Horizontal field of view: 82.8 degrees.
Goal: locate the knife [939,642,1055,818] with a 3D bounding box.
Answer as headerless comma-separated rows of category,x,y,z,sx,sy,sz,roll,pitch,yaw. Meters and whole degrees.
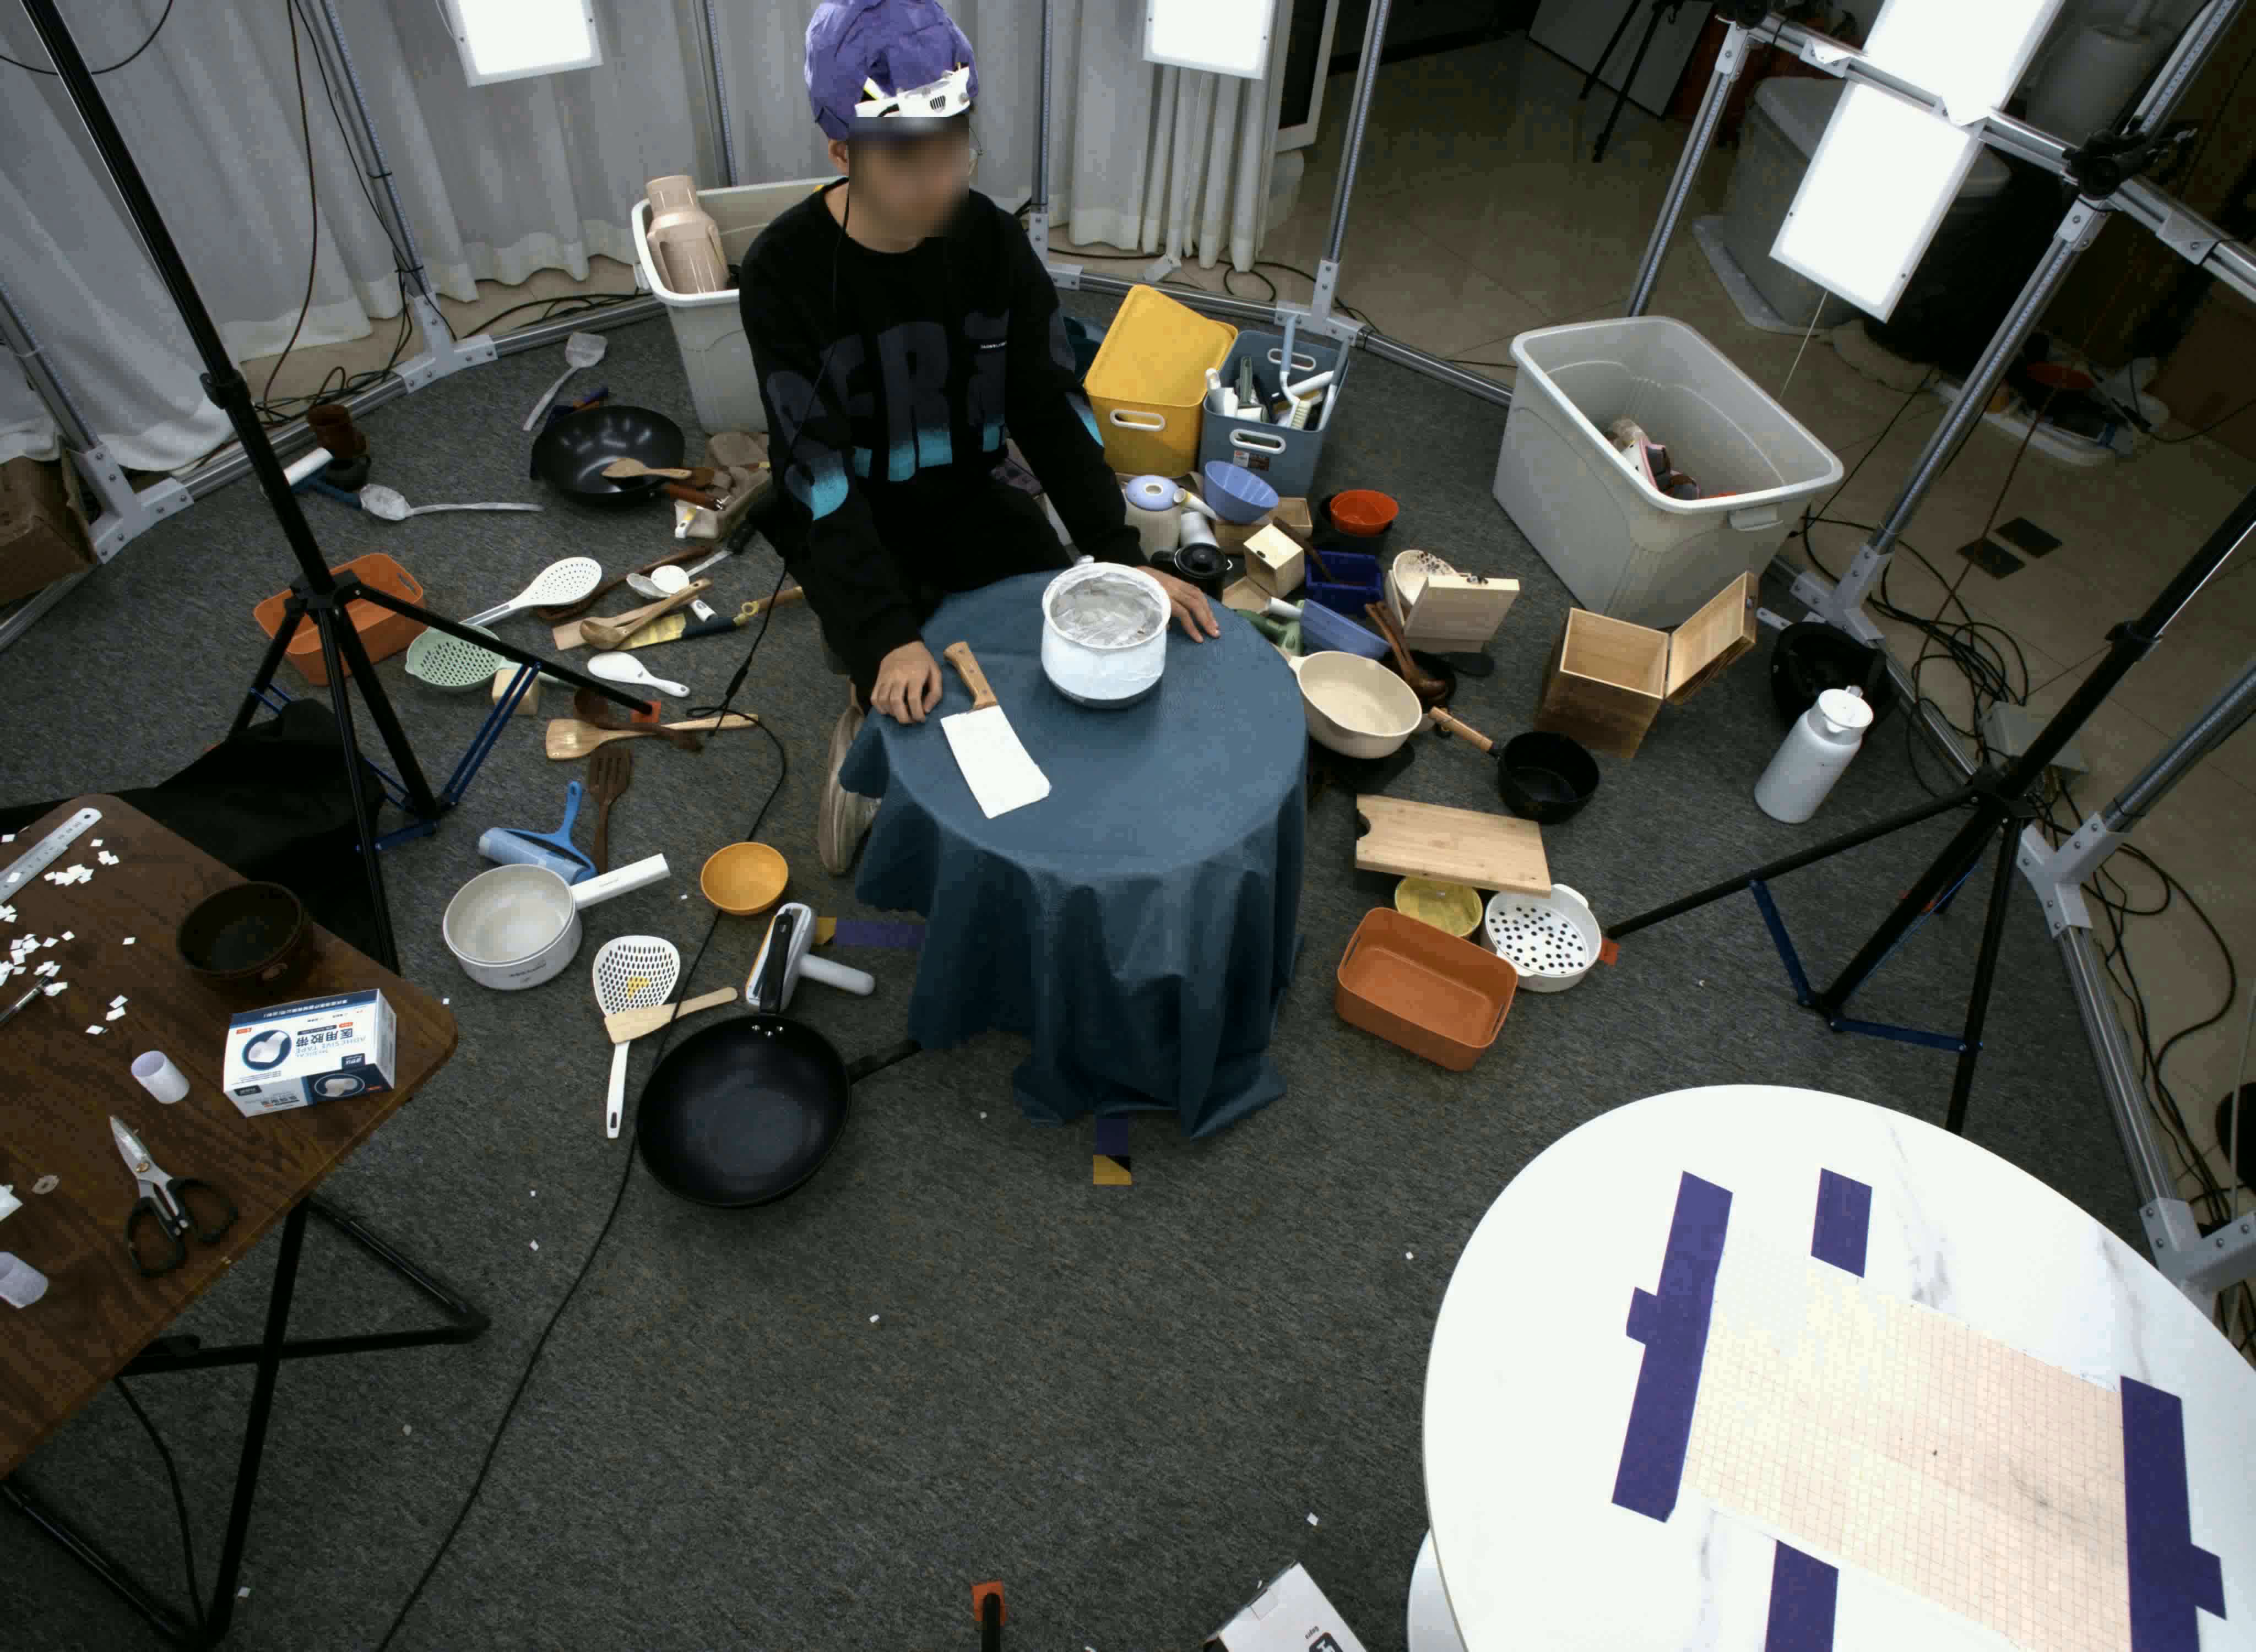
knife,-0.194,-0.139,1.765,0.114,0.021,0.323,-14,54,-15

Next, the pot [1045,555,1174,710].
pot,-0.037,-0.284,1.824,0.178,0.133,0.239,-11,51,-14
